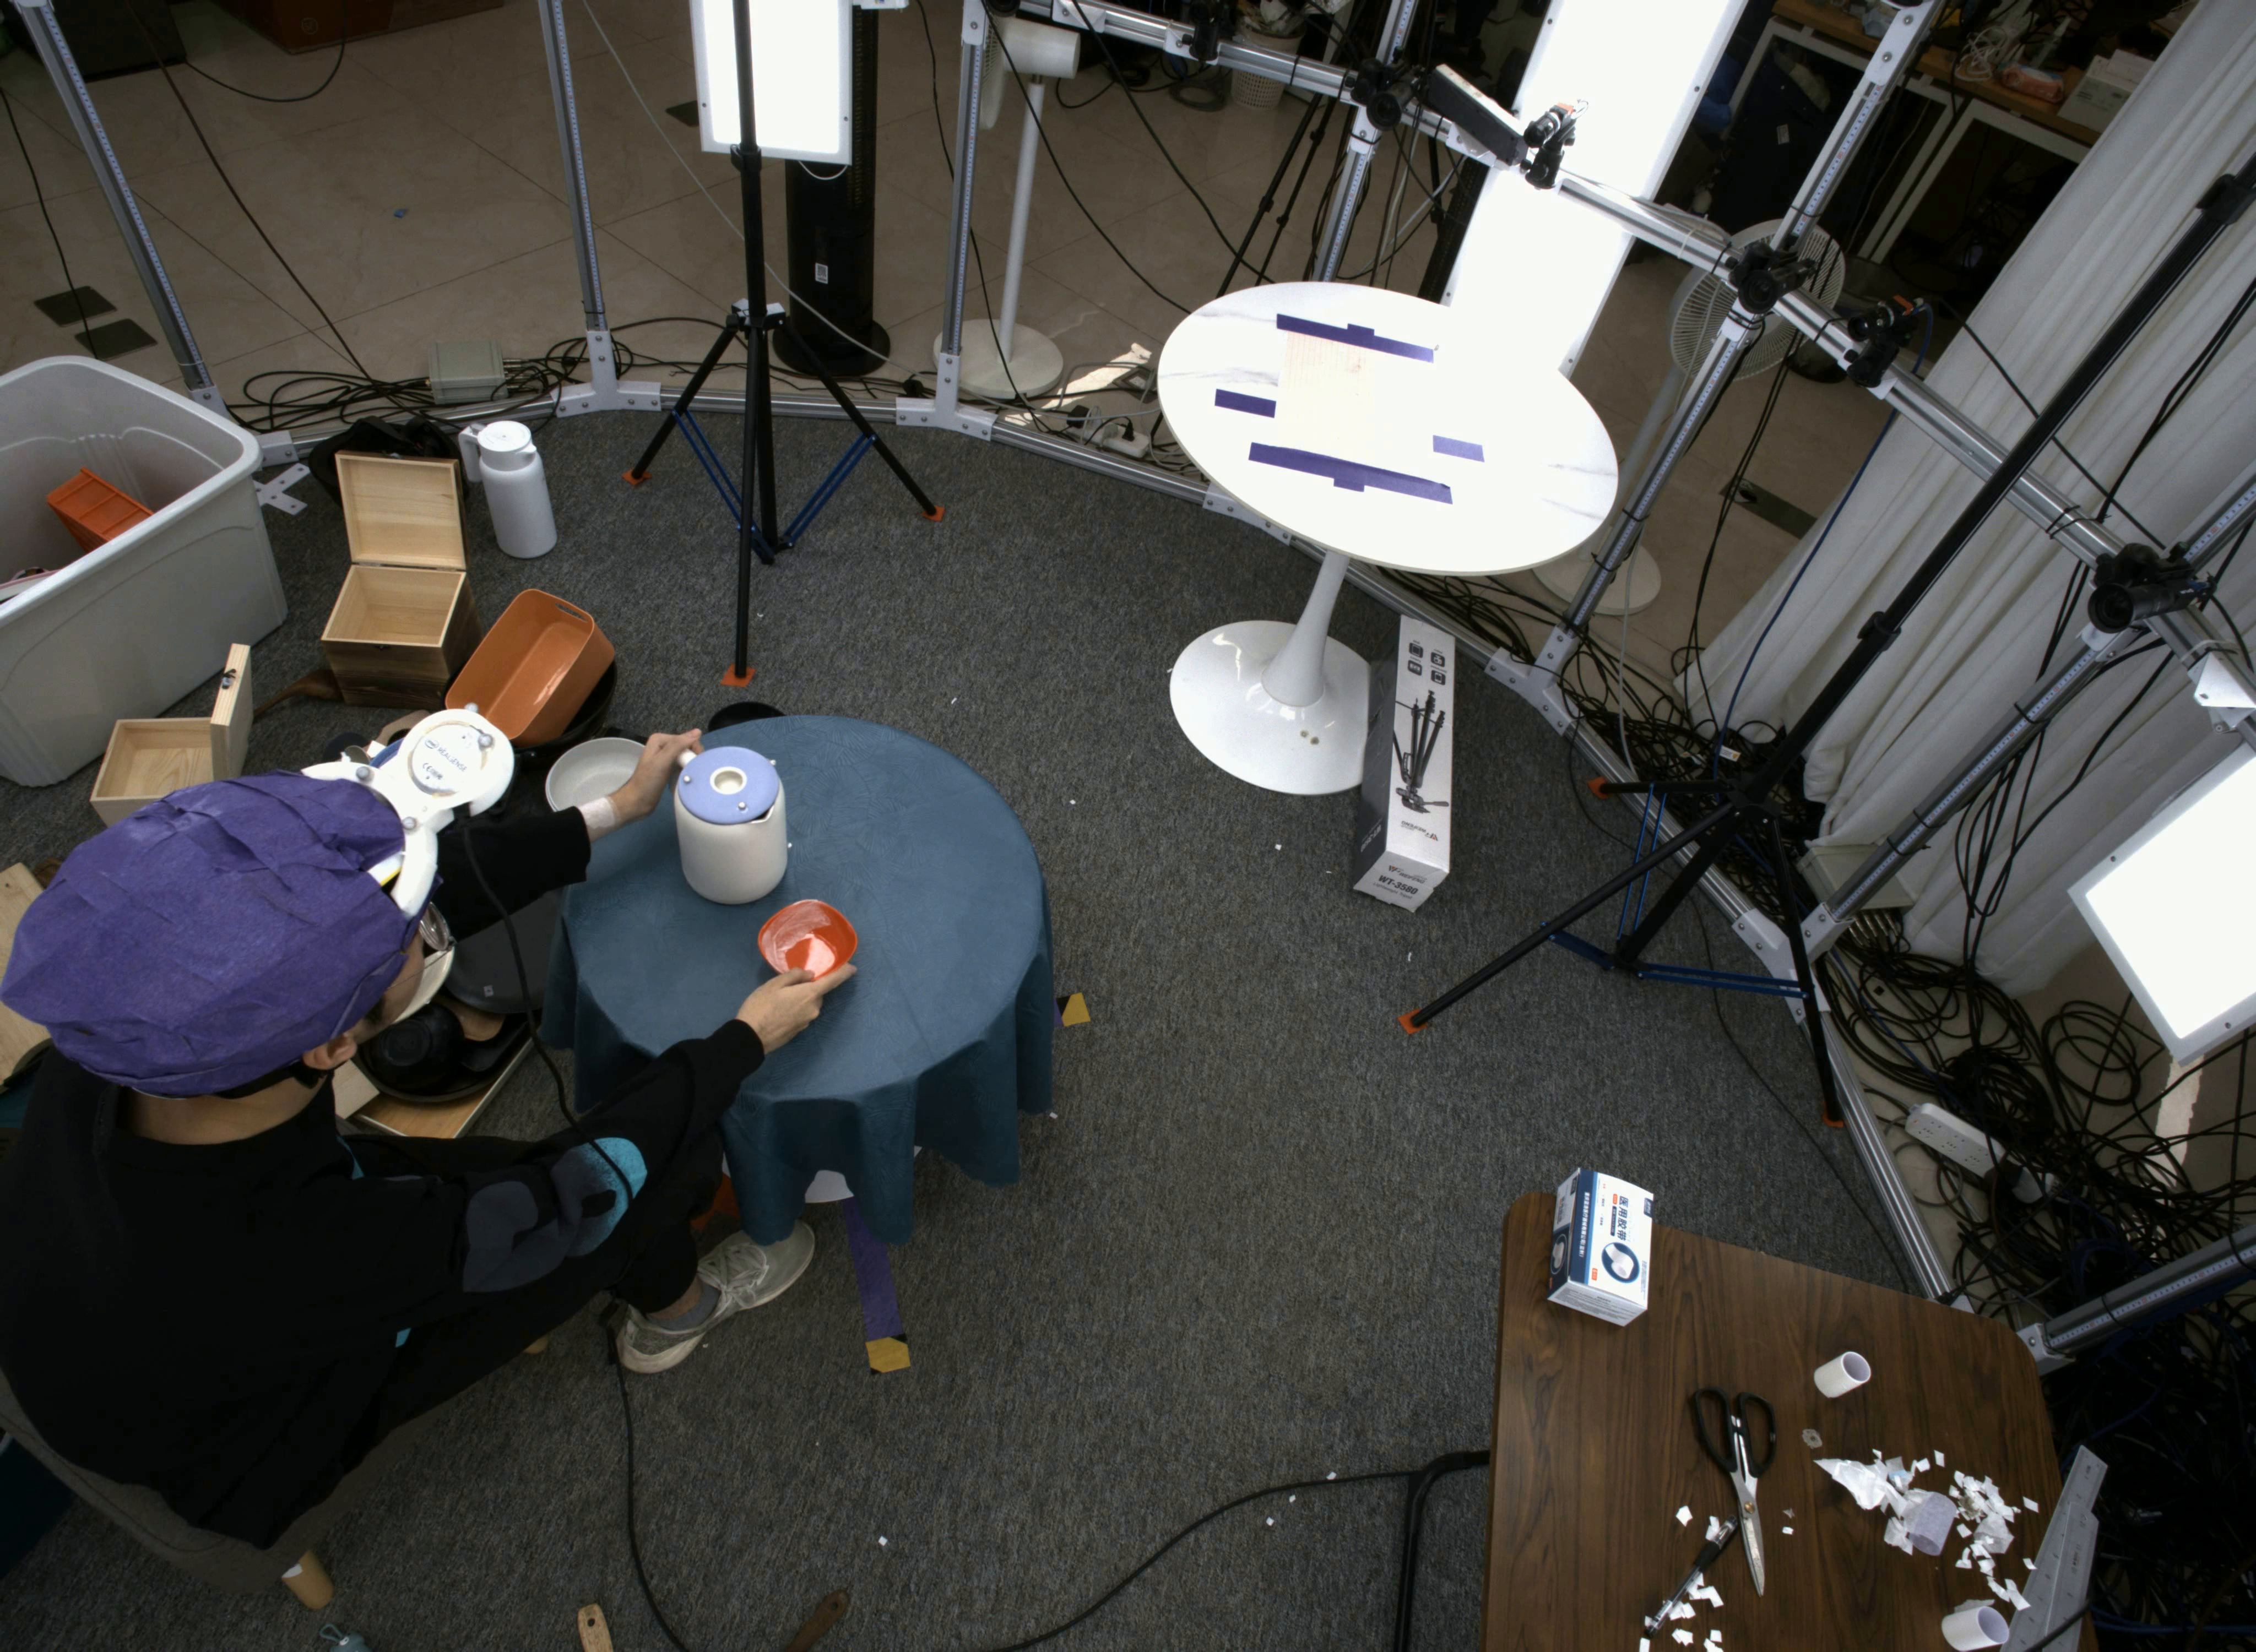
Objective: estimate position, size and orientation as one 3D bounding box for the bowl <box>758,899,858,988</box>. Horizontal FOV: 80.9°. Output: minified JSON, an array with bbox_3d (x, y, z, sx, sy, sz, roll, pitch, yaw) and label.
[{"bbox_3d":[-0.393,0.151,1.592,0.119,0.052,0.117,10,52,-11],"label":"bowl"}]

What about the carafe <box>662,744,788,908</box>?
[{"bbox_3d":[-0.511,-0.014,1.607,0.187,0.187,0.132,34,52,16],"label":"carafe"}]
